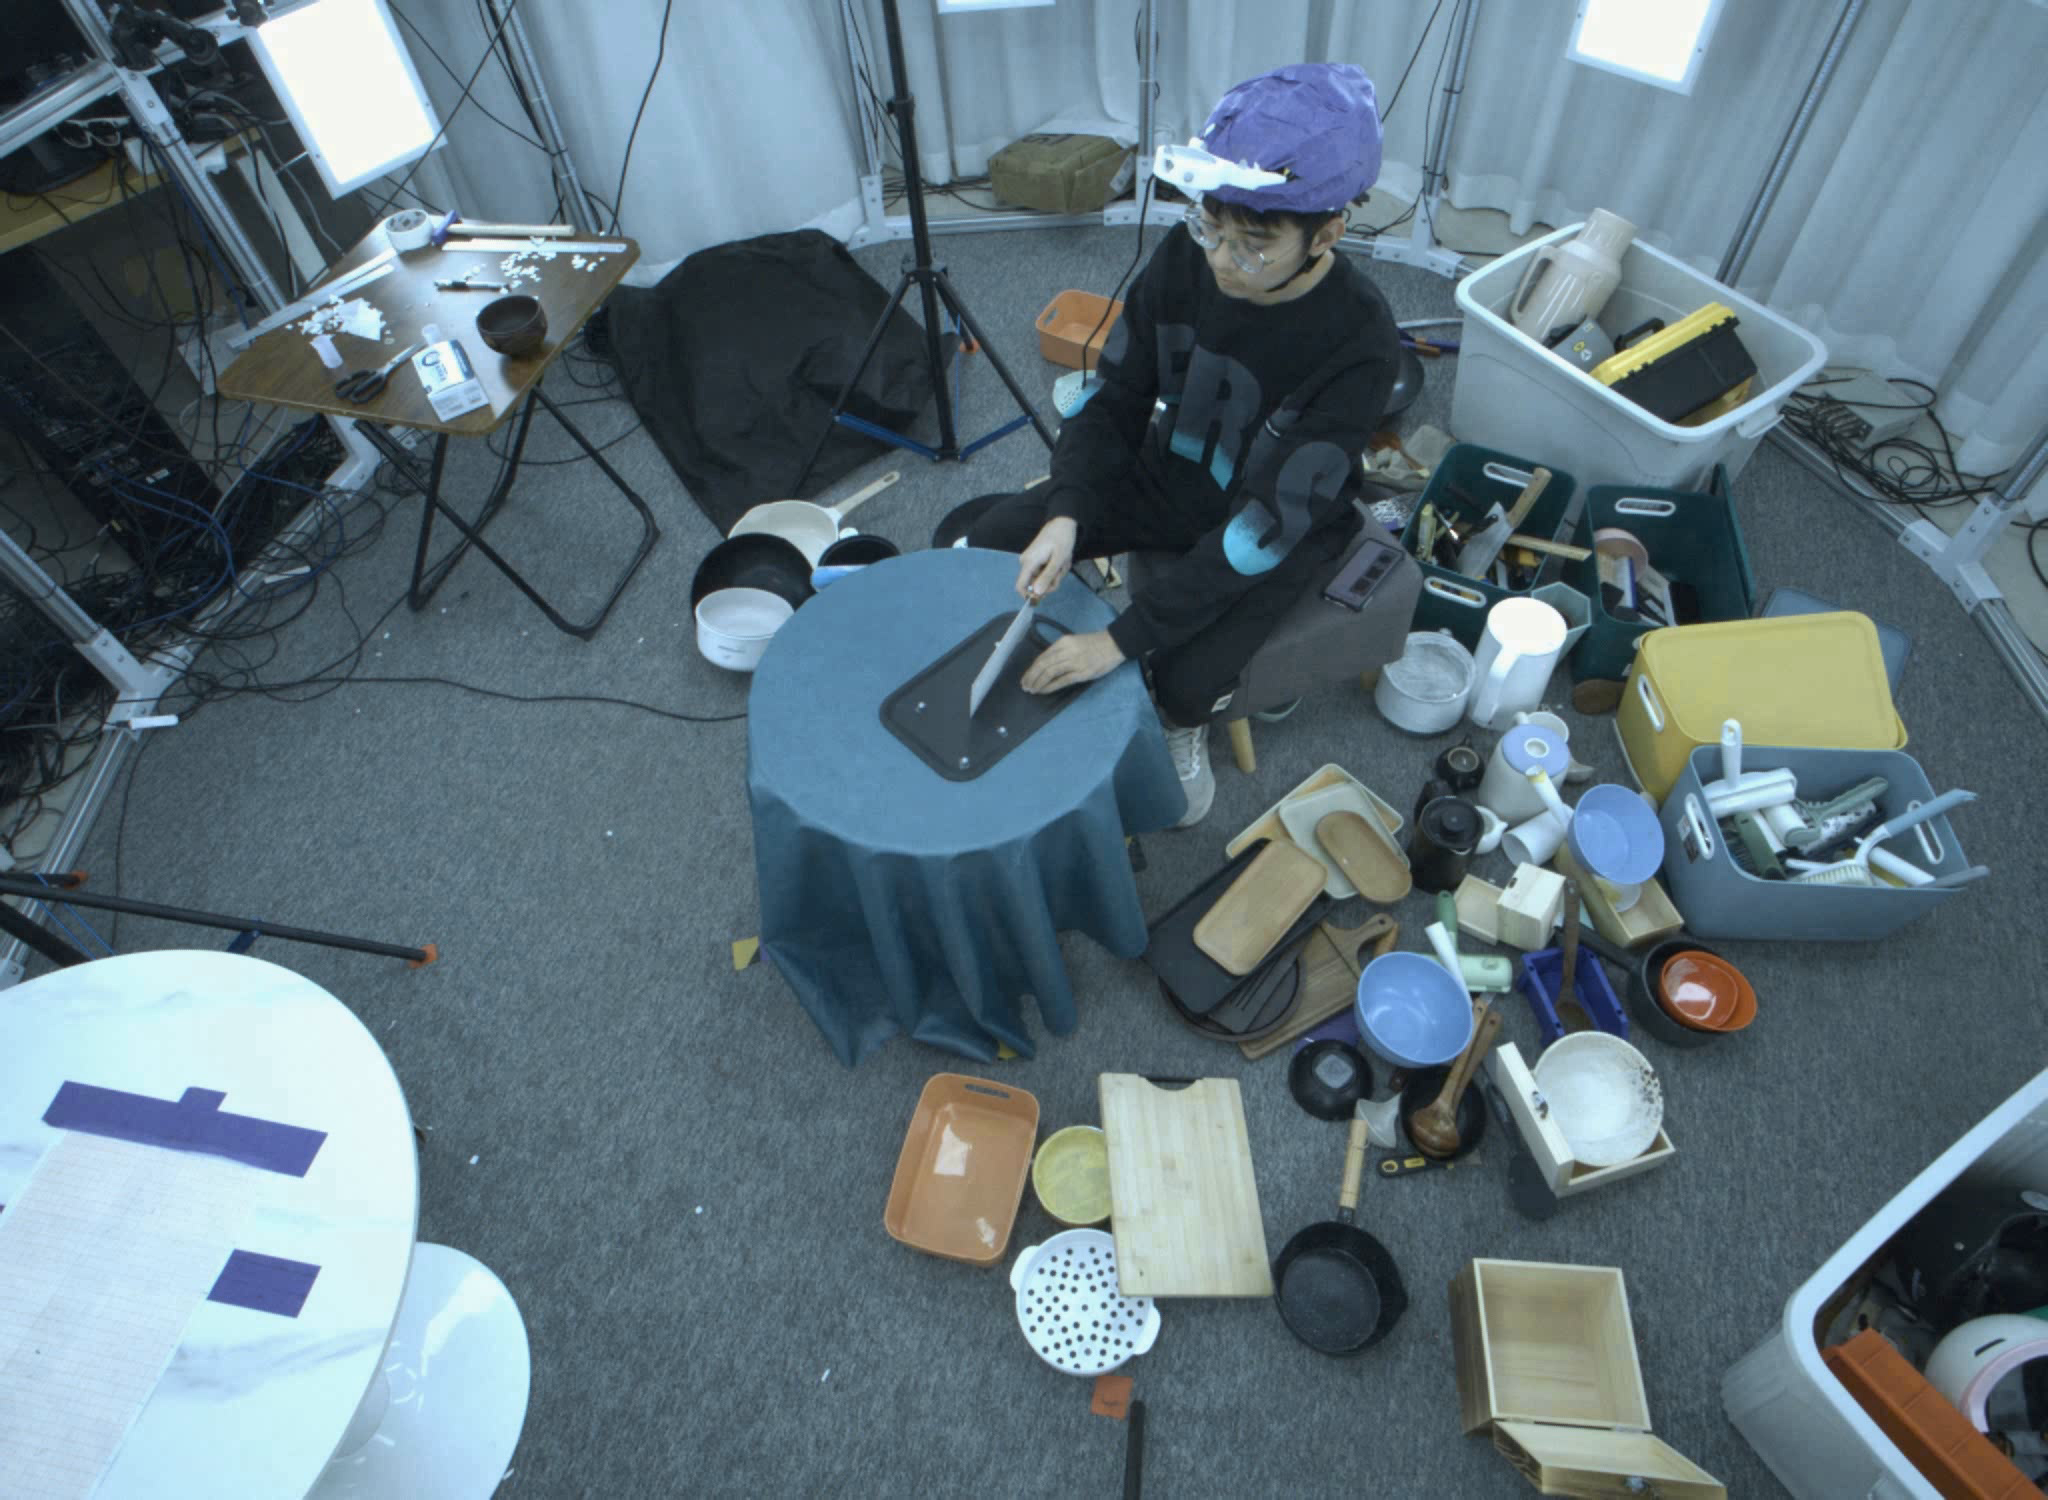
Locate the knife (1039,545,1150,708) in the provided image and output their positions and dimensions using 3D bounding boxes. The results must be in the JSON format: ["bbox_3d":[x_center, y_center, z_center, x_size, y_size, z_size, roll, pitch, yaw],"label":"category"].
[{"bbox_3d":[0.104,-0.183,1.842,0.021,0.093,0.306,30,64,12],"label":"knife"}]

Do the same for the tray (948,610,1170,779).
[{"bbox_3d":[0.059,-0.095,1.848,0.328,0.010,0.207,-34,60,-20],"label":"tray"}]
